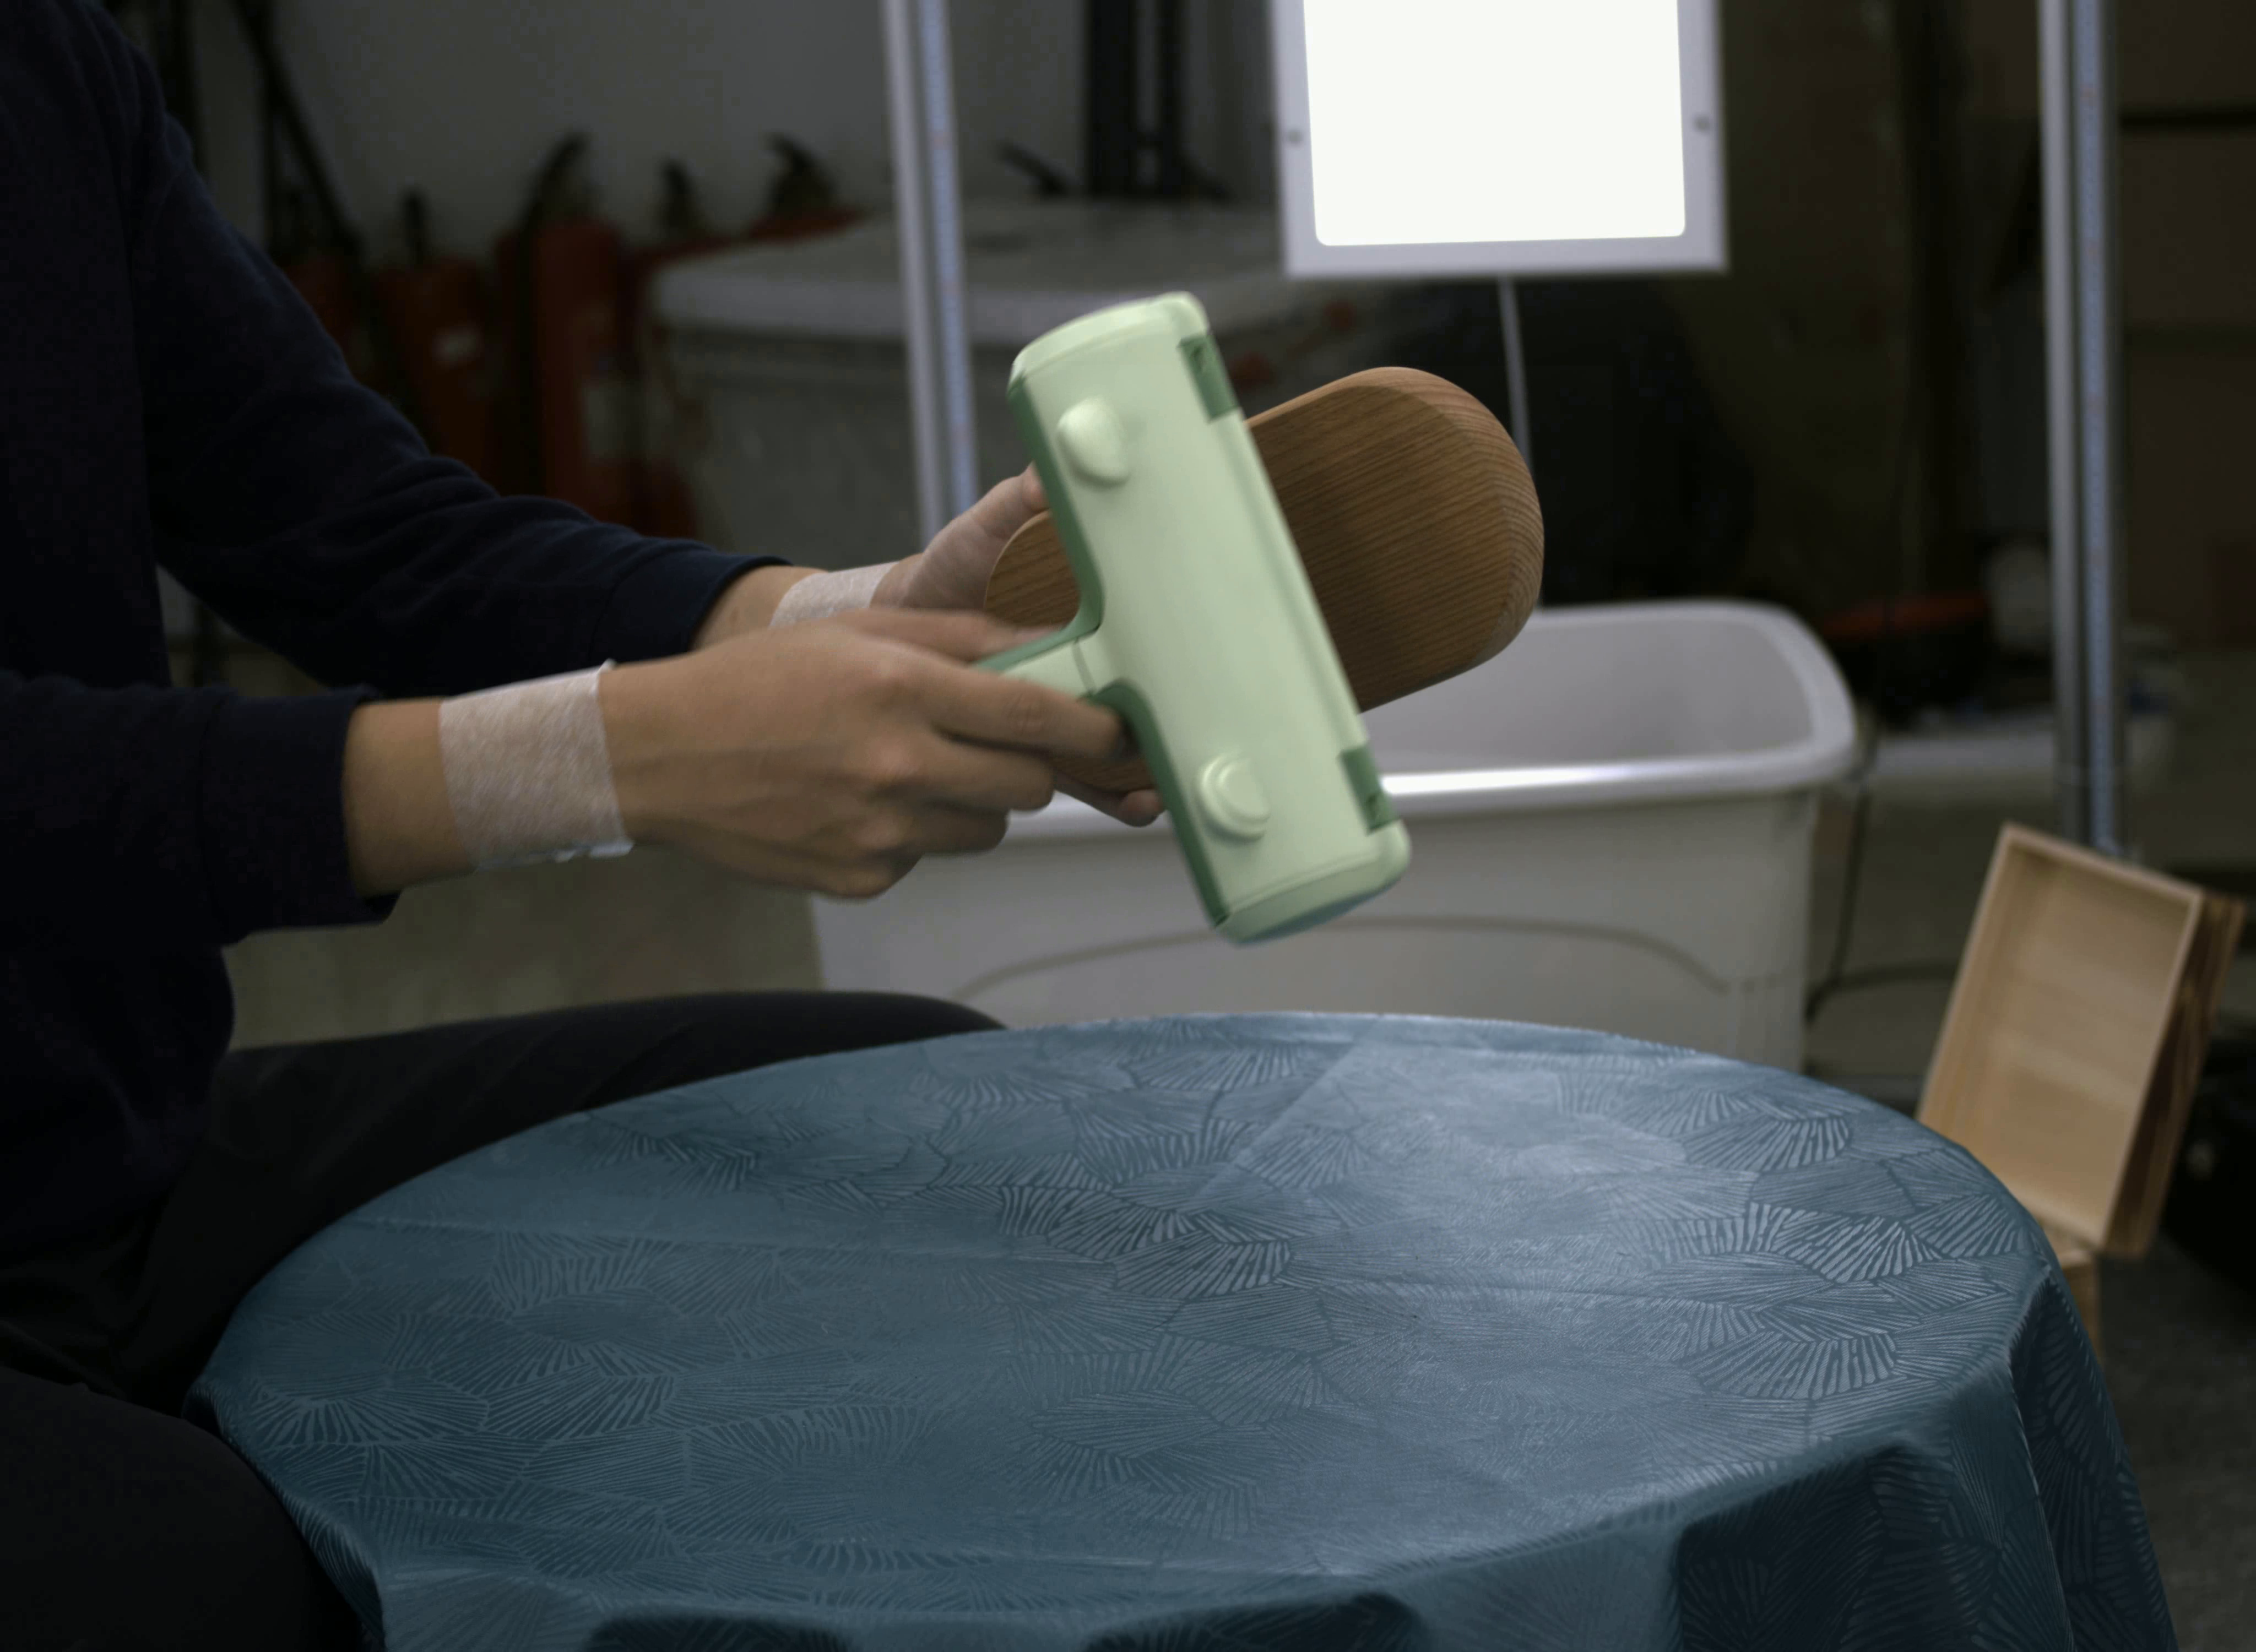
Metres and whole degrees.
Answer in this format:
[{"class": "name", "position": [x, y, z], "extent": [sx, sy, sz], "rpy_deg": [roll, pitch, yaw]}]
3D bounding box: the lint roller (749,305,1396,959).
[{"class": "lint roller", "position": [-0.036, -0.039, 1.674], "extent": [0.184, 0.199, 0.082], "rpy_deg": [-22, -8, 5]}]

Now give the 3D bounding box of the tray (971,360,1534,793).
[{"class": "tray", "position": [0.036, -0.077, 1.755], "extent": [0.236, 0.102, 0.020], "rpy_deg": [-21, 2, 42]}]
